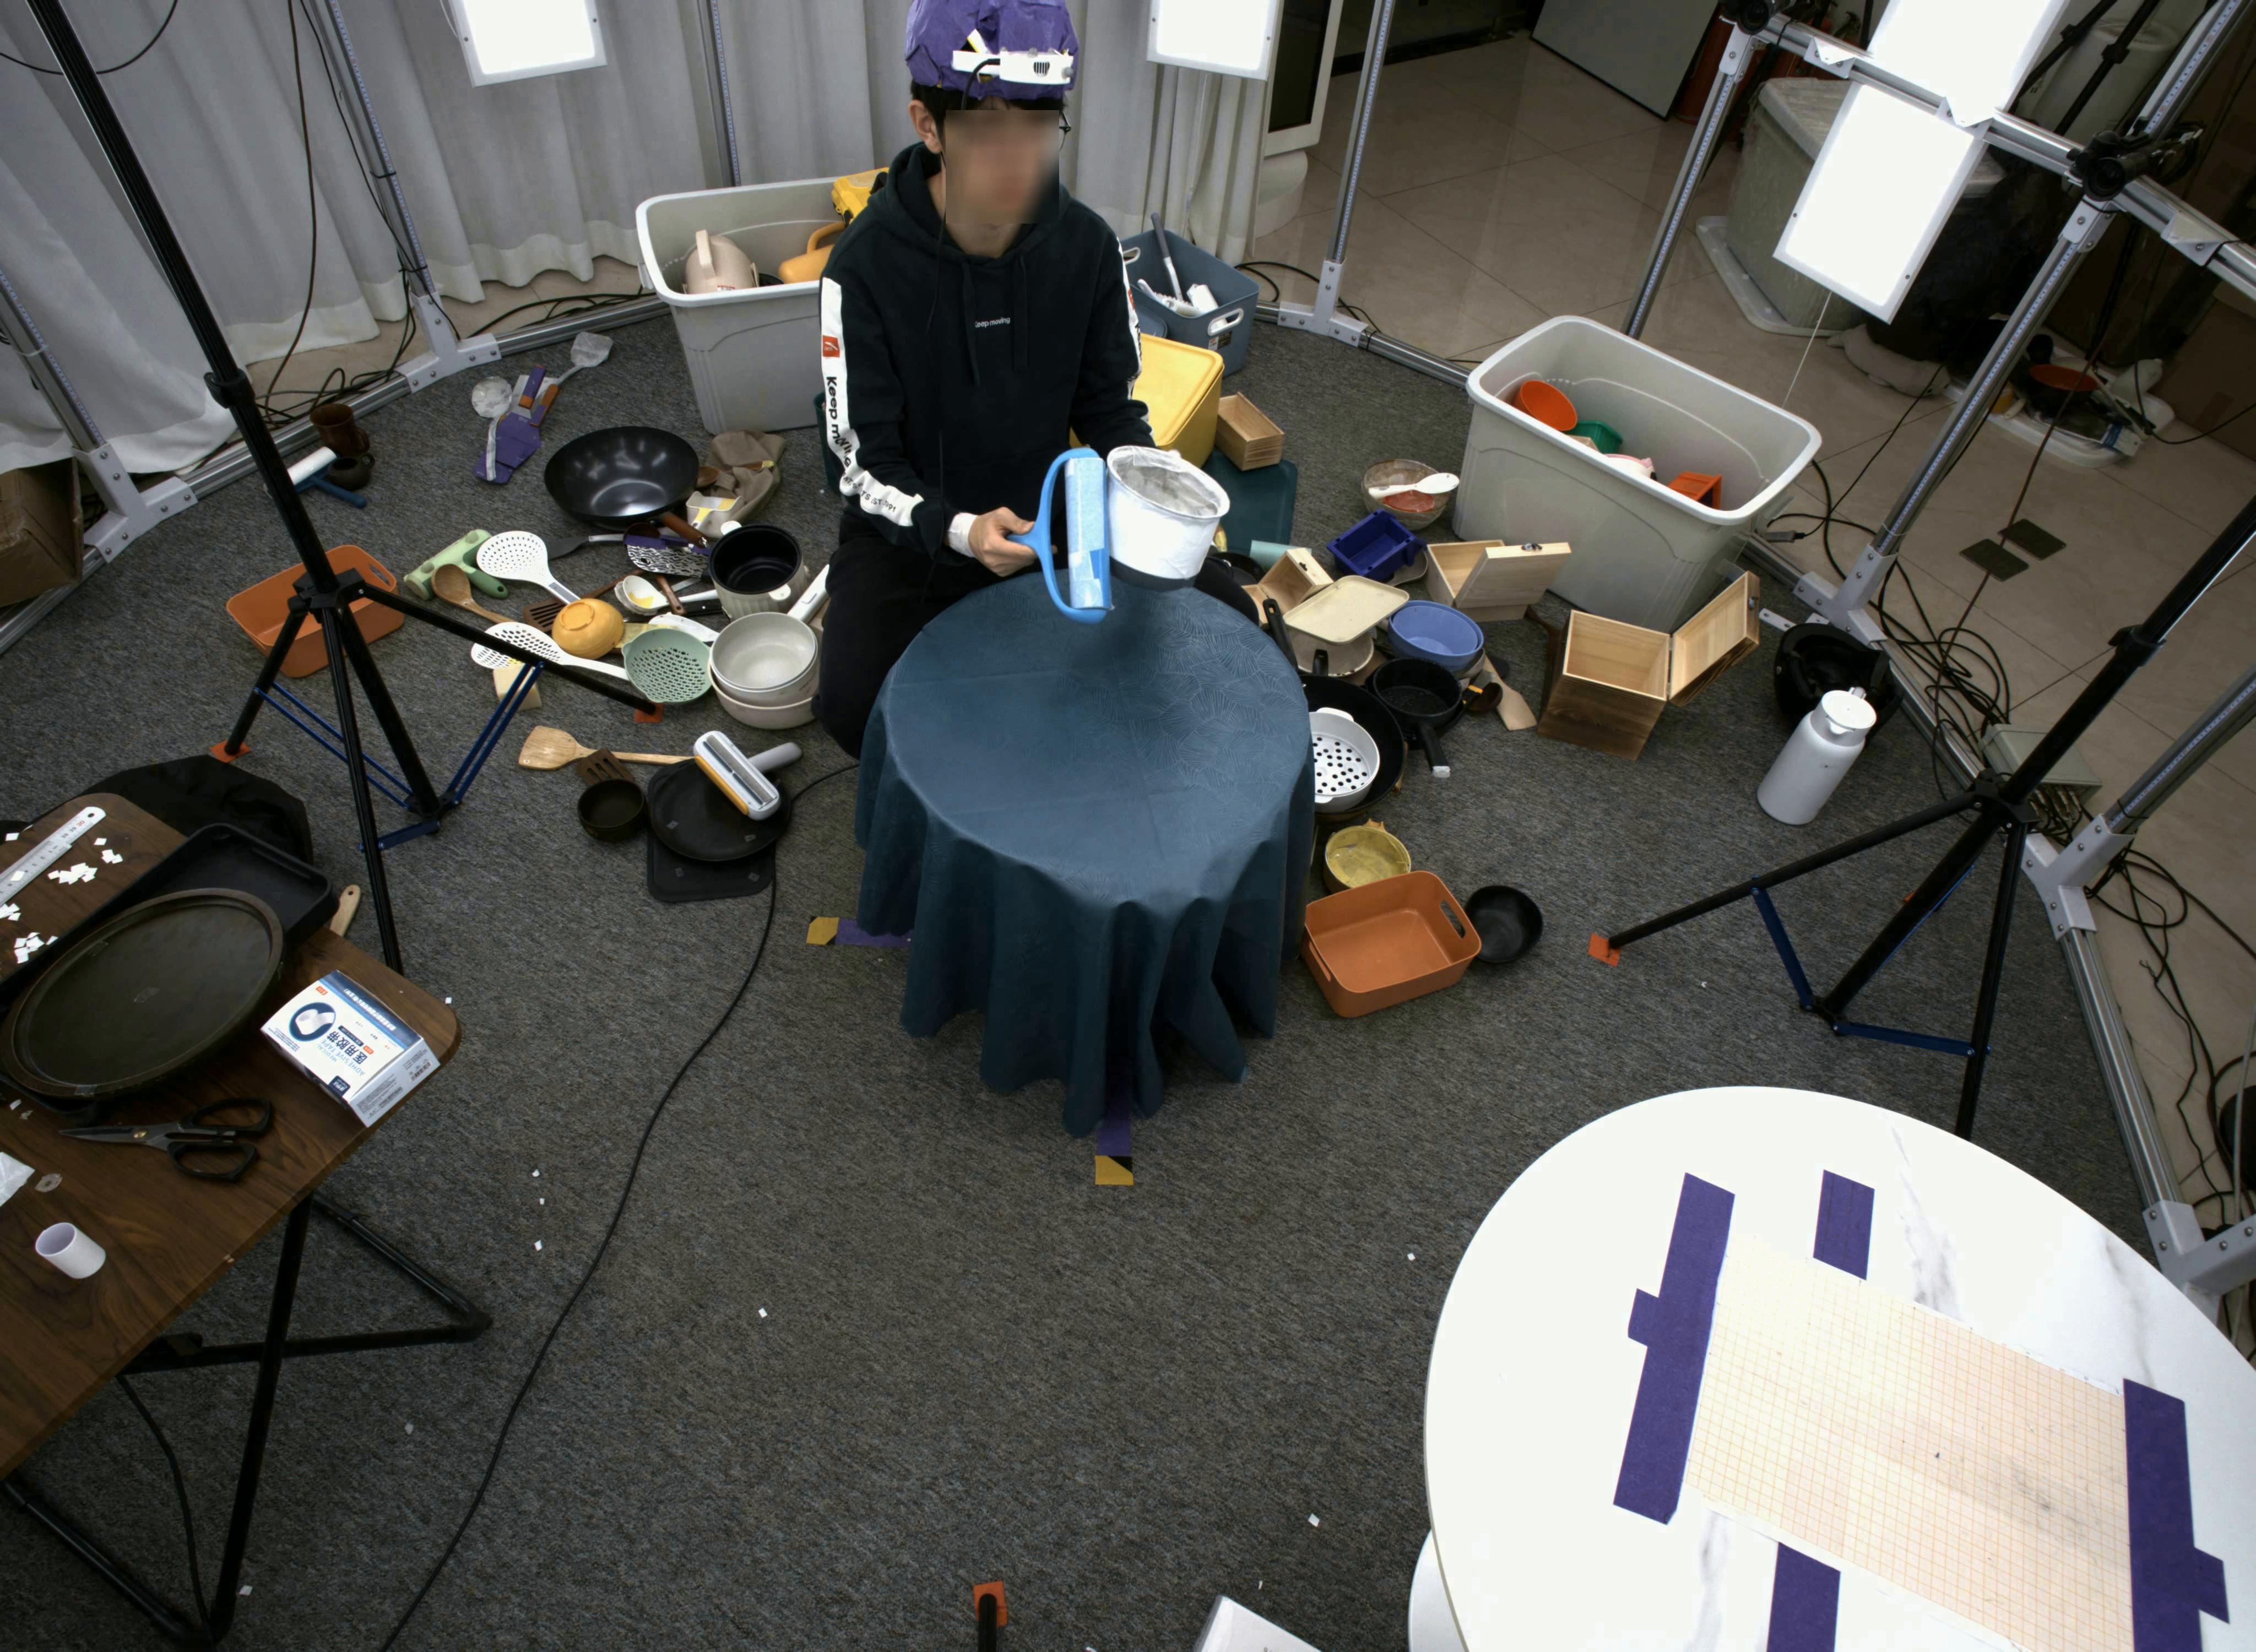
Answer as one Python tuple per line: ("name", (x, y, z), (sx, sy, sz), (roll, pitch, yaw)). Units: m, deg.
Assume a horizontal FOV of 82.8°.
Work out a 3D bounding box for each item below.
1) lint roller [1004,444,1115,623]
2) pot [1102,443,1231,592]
("lint roller", (-0.103, -0.376, 1.705), (0.180, 0.229, 0.068), (-6, 1, 28))
("pot", (0.036, -0.433, 1.771), (0.178, 0.134, 0.239), (20, 37, -8))
